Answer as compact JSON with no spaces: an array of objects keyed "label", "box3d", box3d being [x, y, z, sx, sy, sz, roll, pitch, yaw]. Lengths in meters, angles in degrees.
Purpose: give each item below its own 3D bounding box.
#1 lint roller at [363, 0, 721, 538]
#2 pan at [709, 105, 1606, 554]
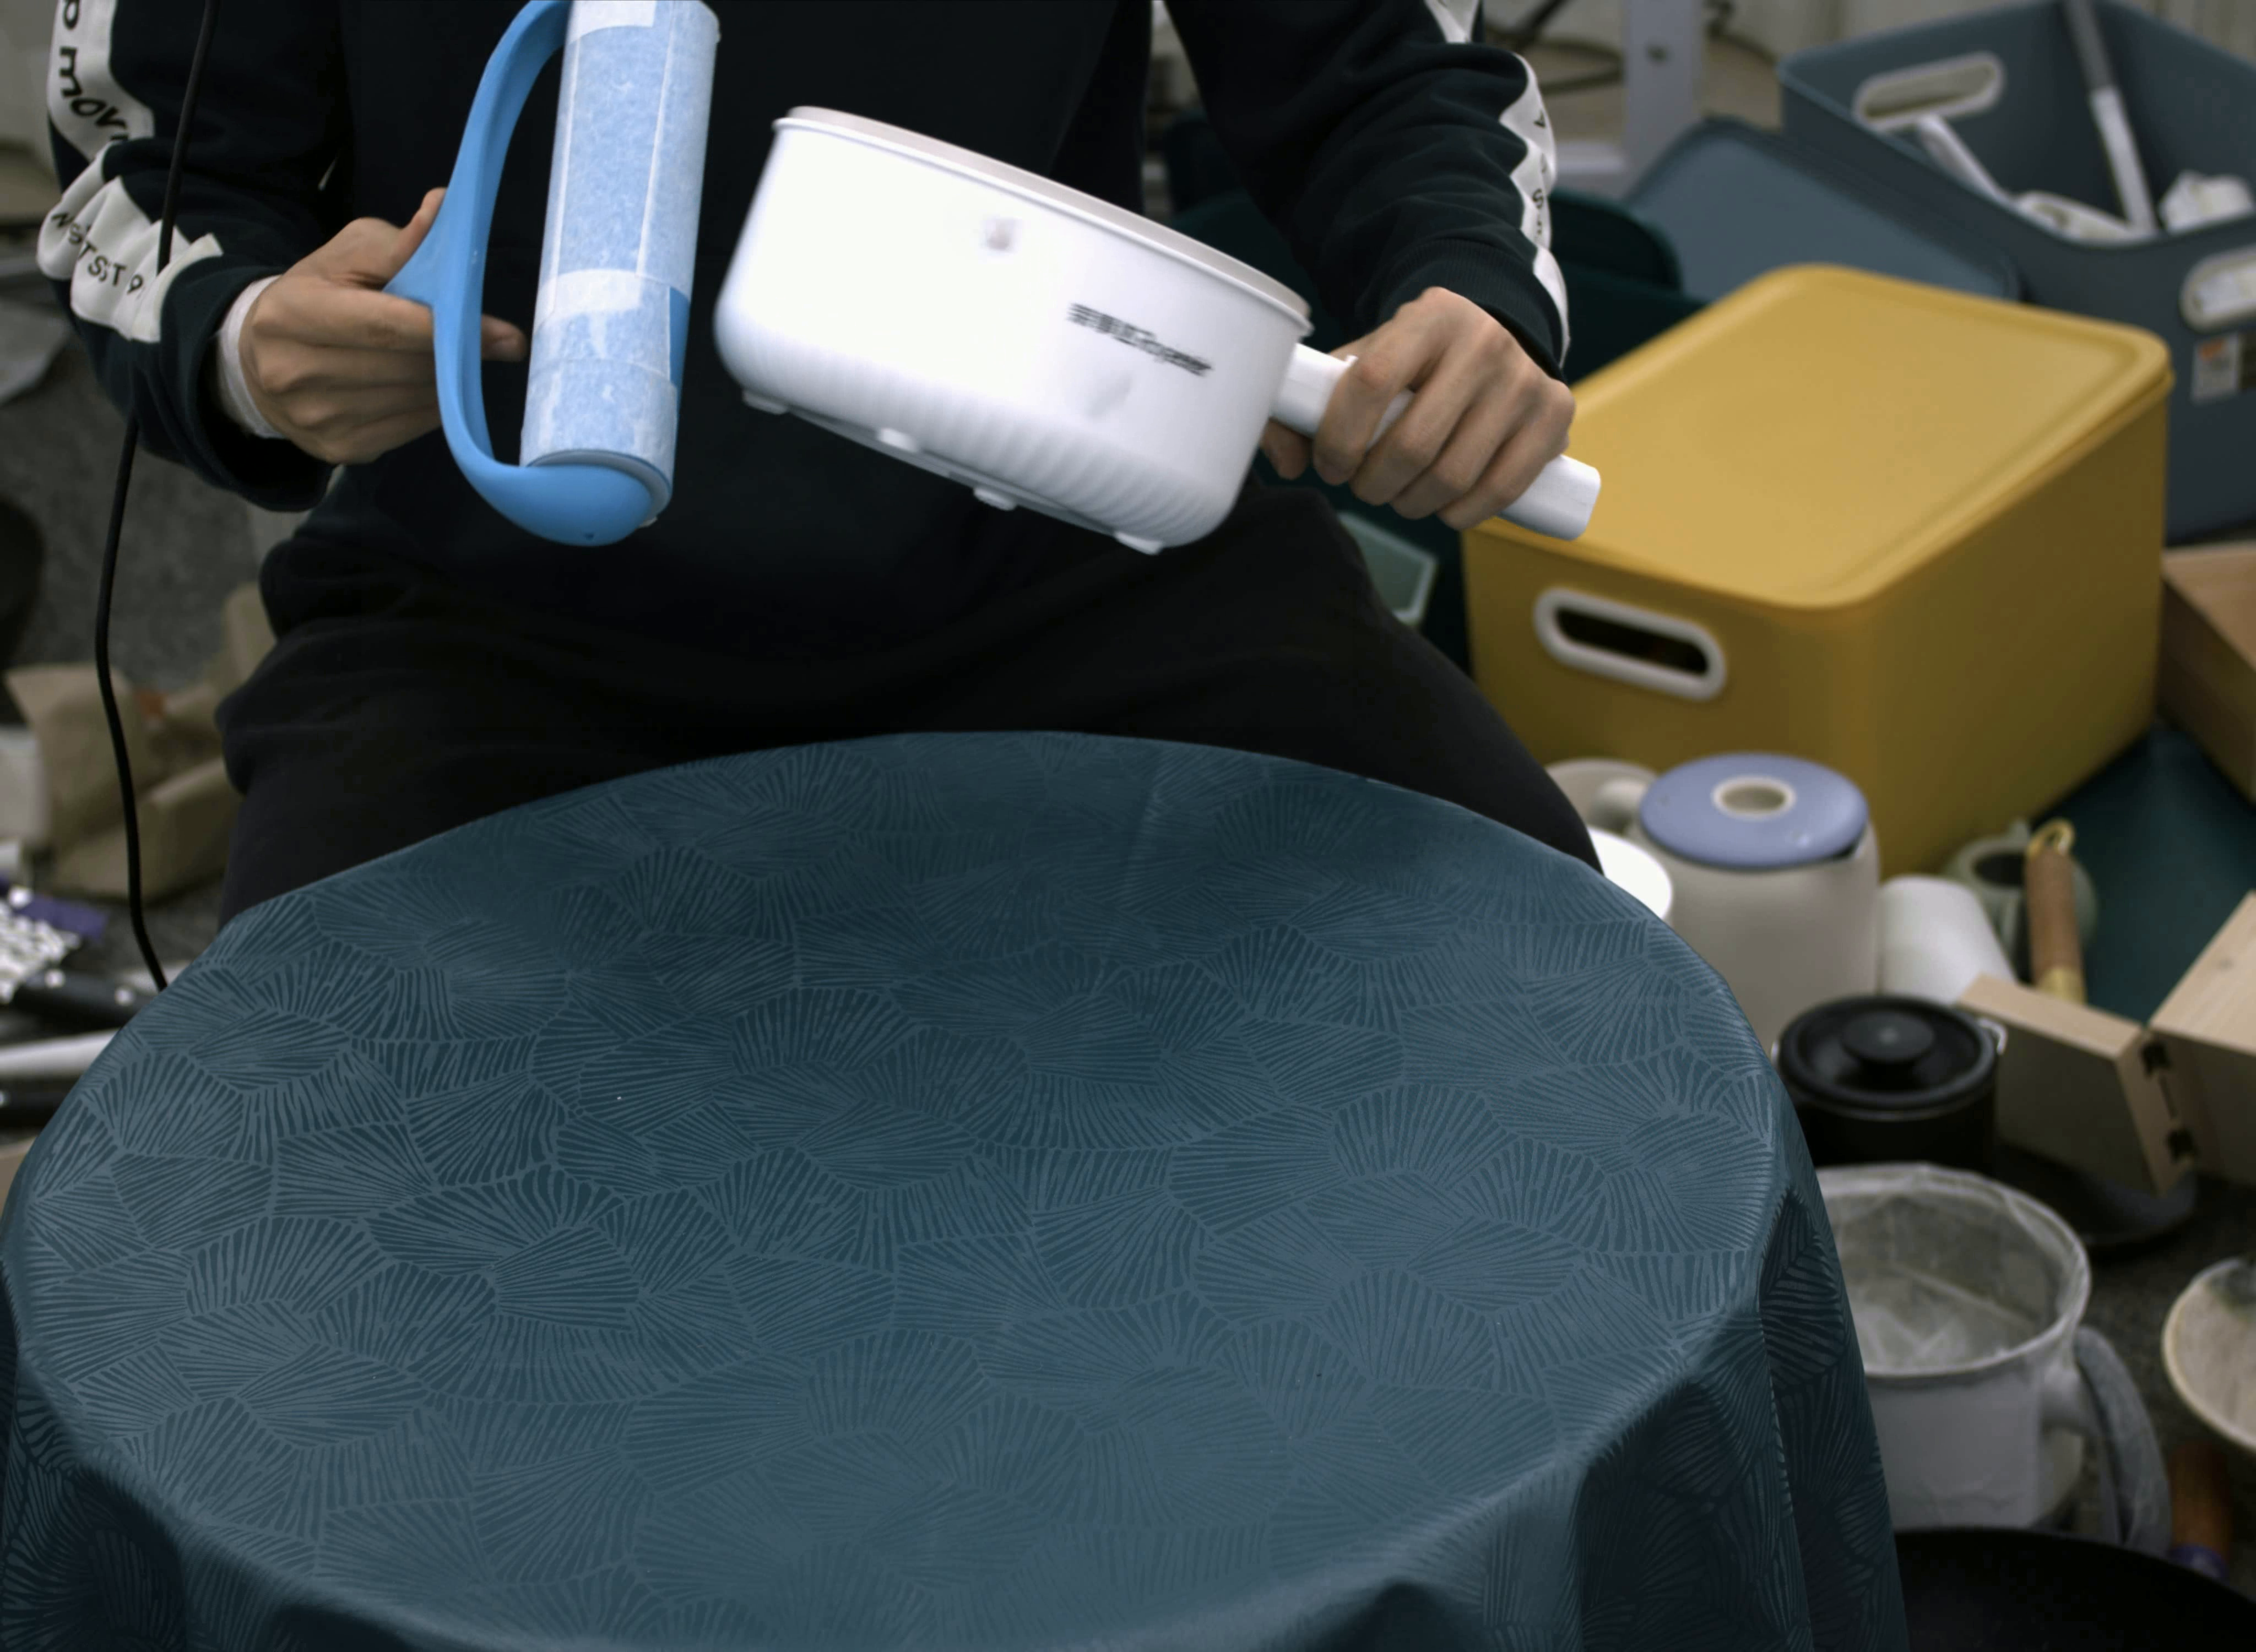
[{"label":"lint roller","box3d":[-0.222,-0.186,1.993,0.178,0.067,0.233,-20,56,32]},{"label":"pan","box3d":[0.014,-0.144,2.015,0.354,0.102,0.201,22,-2,-32]}]
